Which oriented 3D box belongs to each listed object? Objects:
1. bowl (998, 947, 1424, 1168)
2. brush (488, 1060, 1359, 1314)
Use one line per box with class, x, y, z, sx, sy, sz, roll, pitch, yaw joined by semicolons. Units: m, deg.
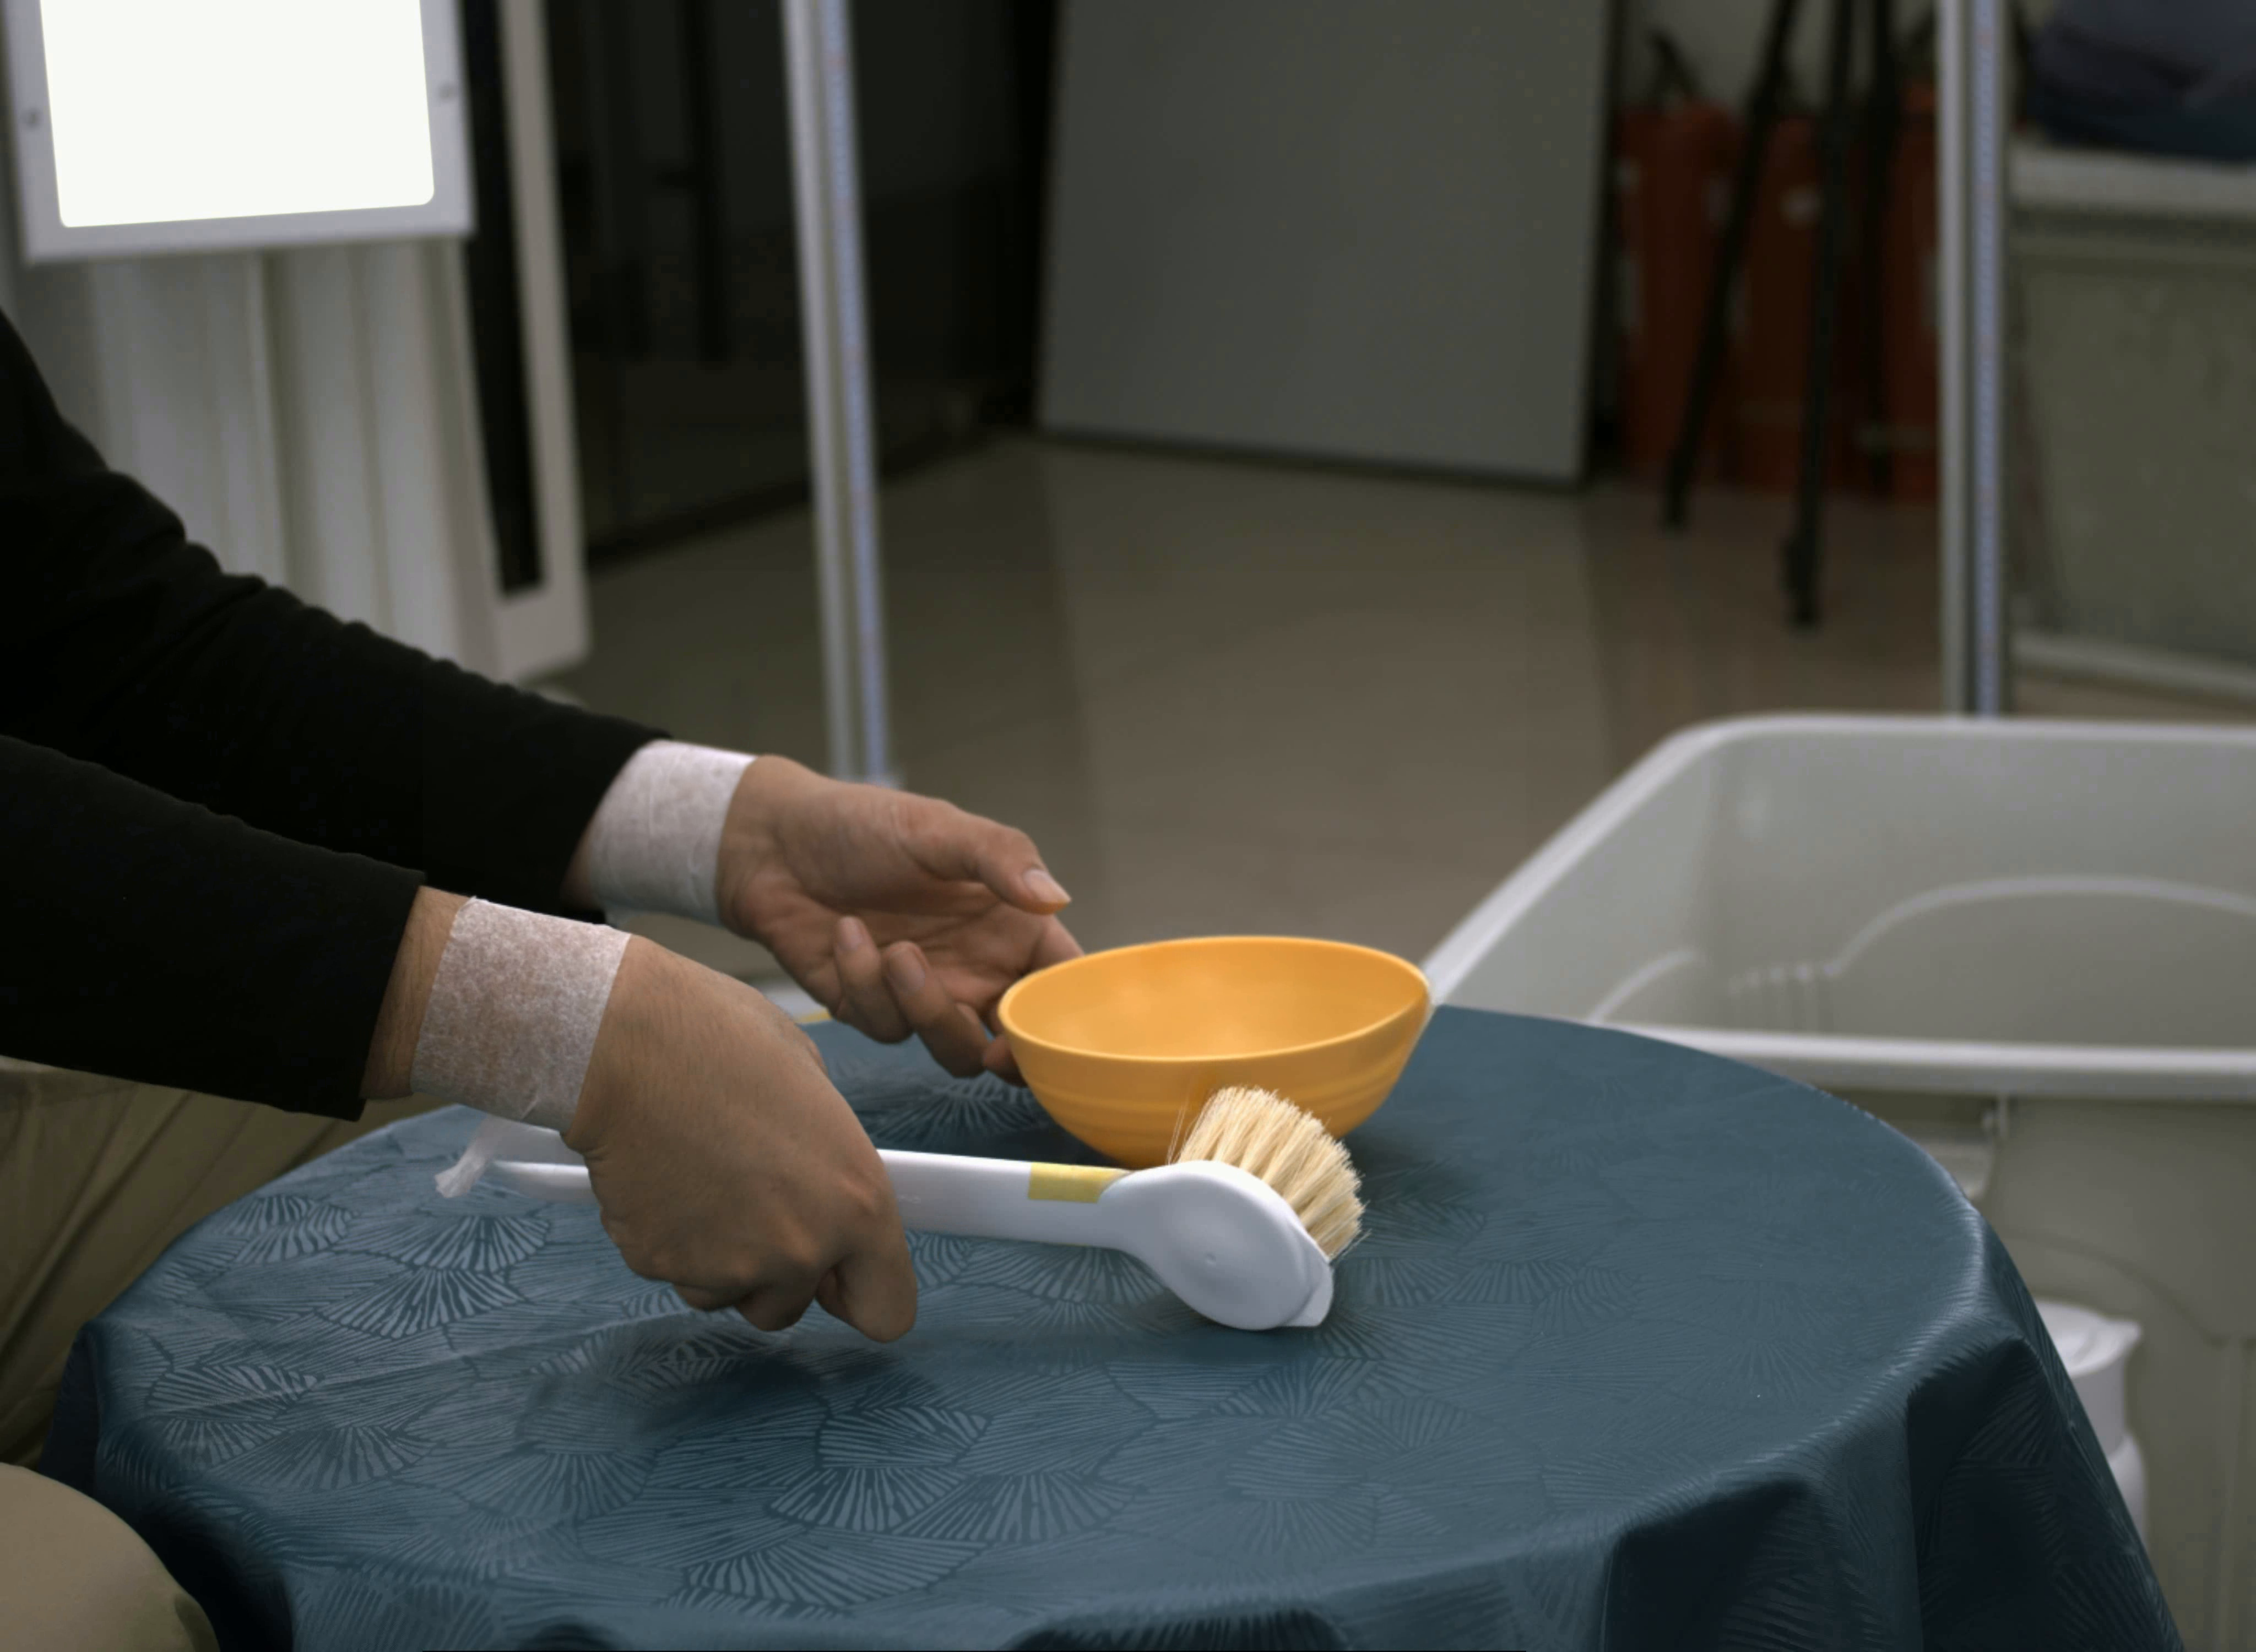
bowl;0.029;0.085;1.787;0.143;0.061;0.145;-4;12;0
brush;-0.060;0.102;1.643;0.264;0.069;0.056;6;31;9
